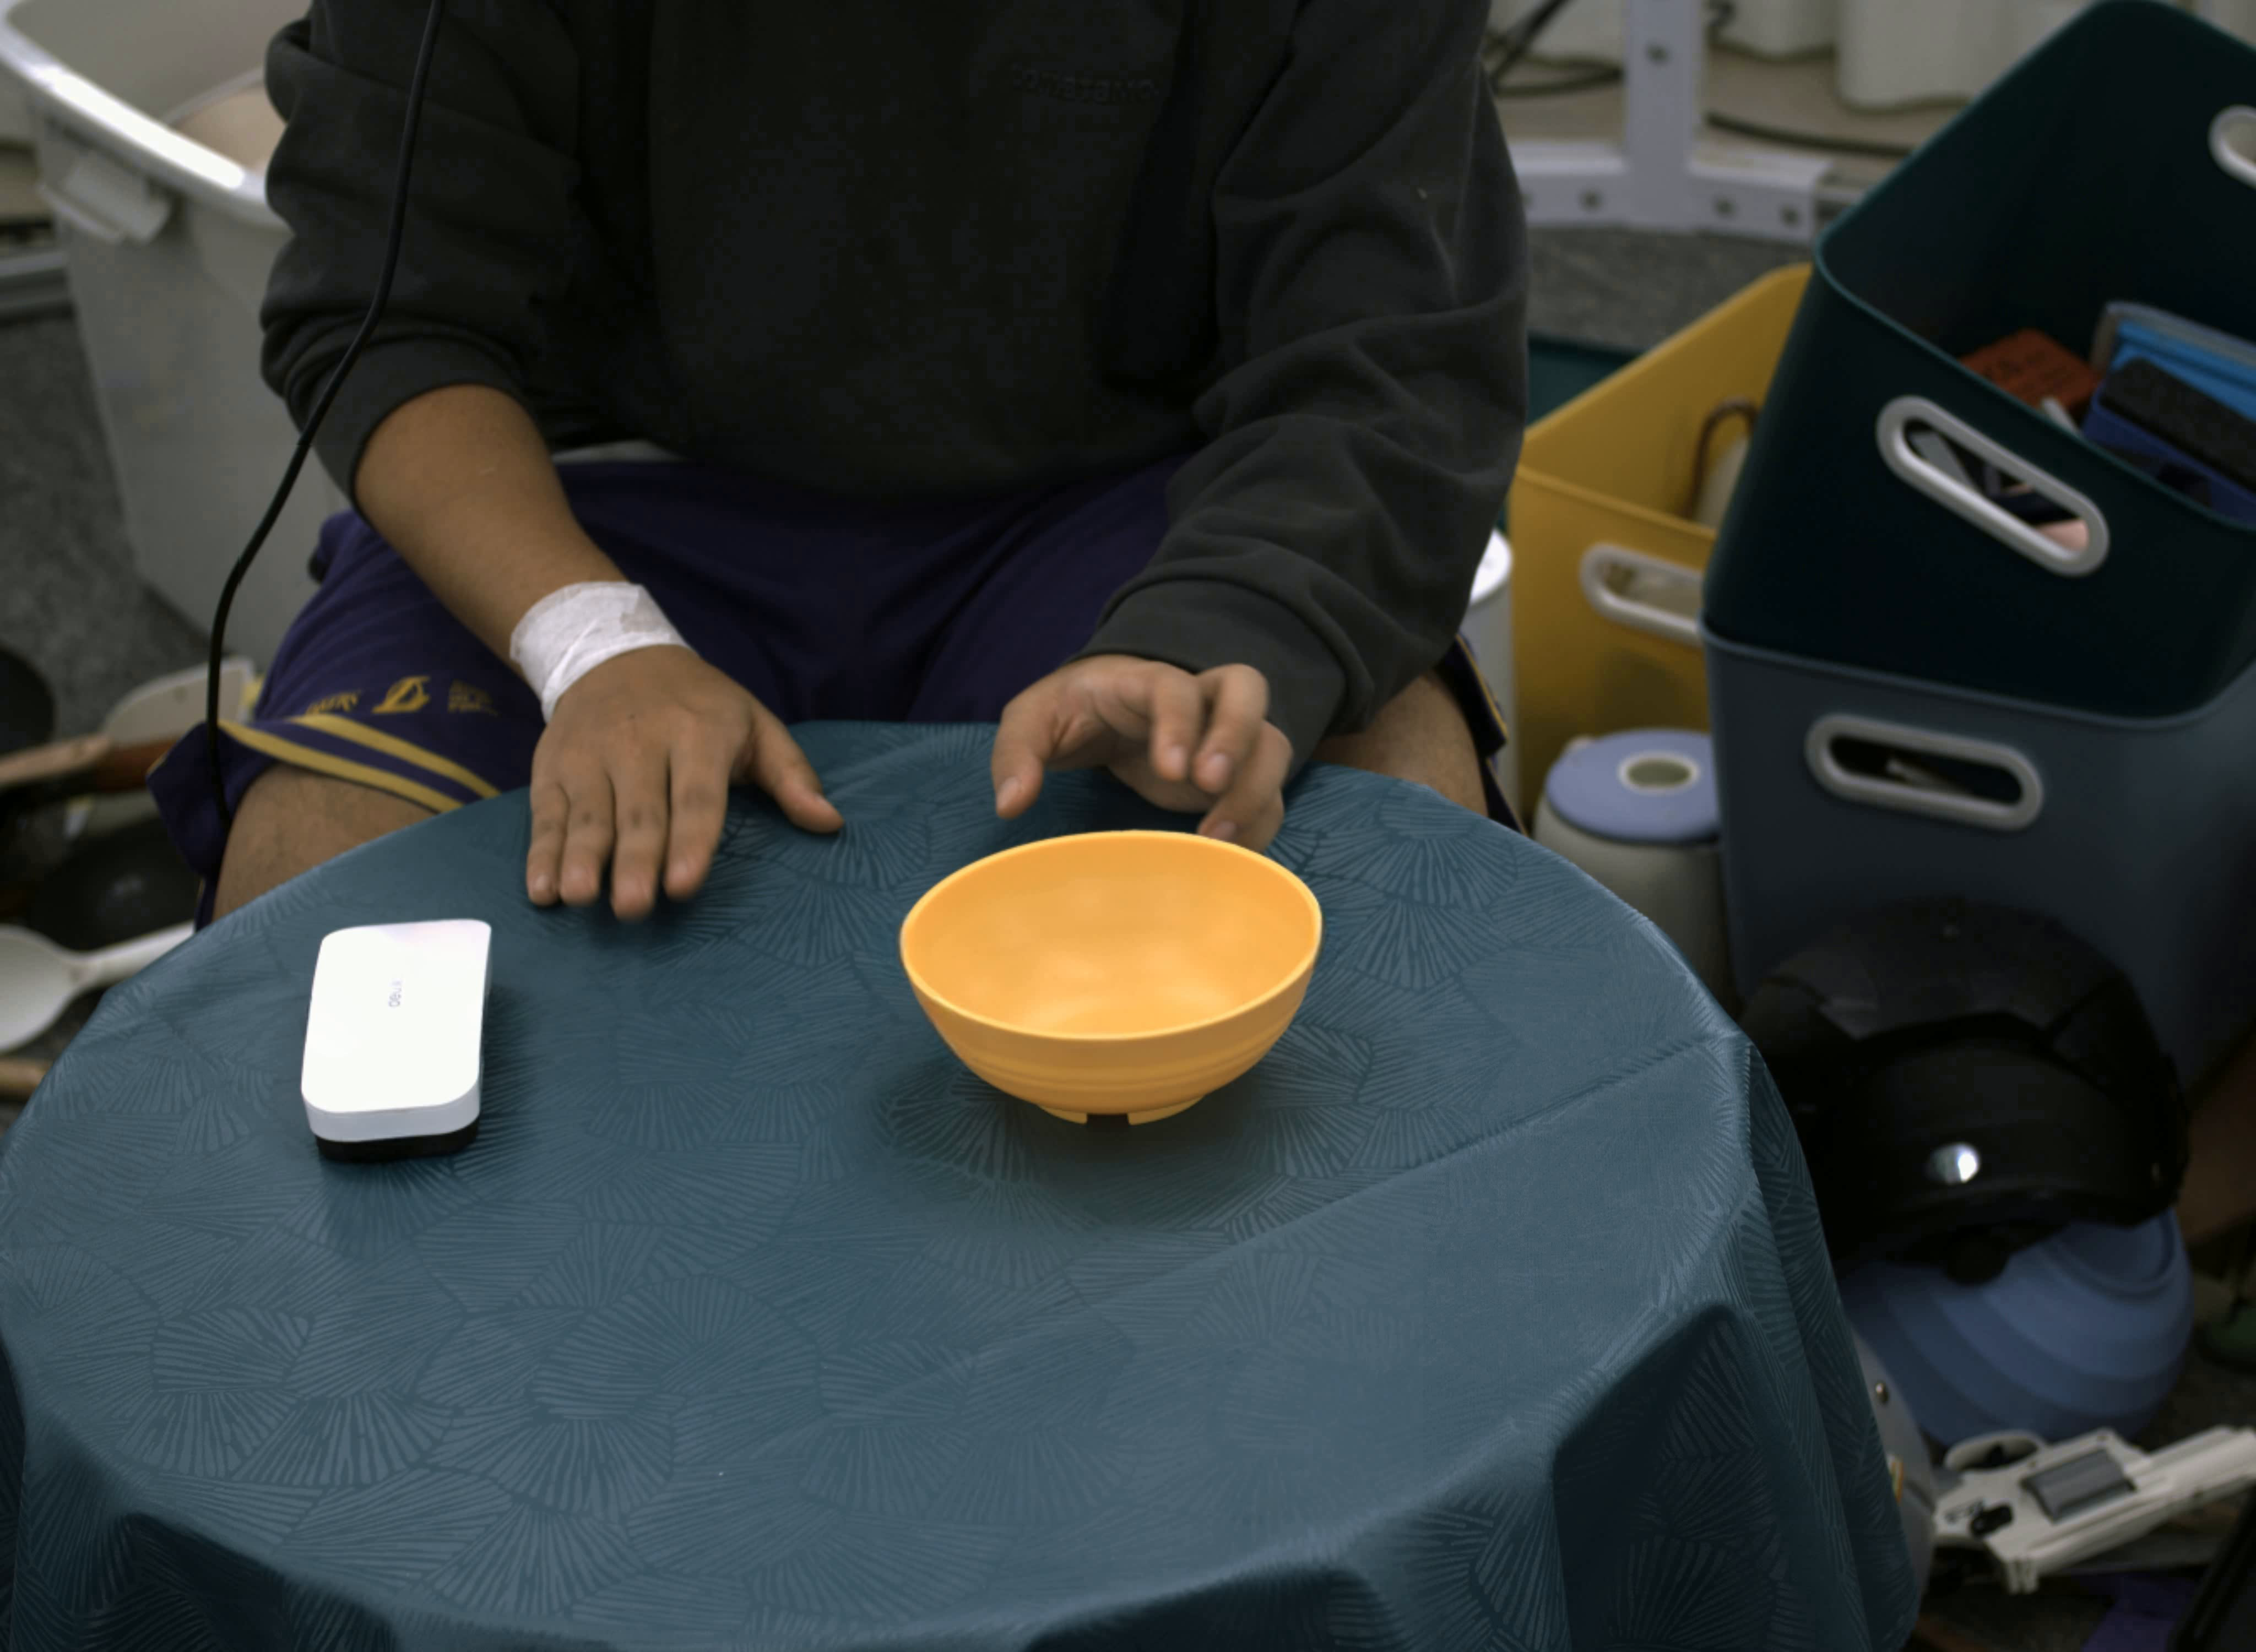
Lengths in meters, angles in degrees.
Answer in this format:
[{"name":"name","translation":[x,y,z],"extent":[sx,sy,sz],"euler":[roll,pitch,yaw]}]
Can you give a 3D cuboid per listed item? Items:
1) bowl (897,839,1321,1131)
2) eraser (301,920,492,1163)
[{"name":"bowl","translation":[-0.006,0.063,1.917],"extent":[0.144,0.059,0.147],"euler":[-1,26,1]},{"name":"eraser","translation":[-0.251,0.071,1.950],"extent":[0.063,0.034,0.133],"euler":[-4,28,-1]}]
